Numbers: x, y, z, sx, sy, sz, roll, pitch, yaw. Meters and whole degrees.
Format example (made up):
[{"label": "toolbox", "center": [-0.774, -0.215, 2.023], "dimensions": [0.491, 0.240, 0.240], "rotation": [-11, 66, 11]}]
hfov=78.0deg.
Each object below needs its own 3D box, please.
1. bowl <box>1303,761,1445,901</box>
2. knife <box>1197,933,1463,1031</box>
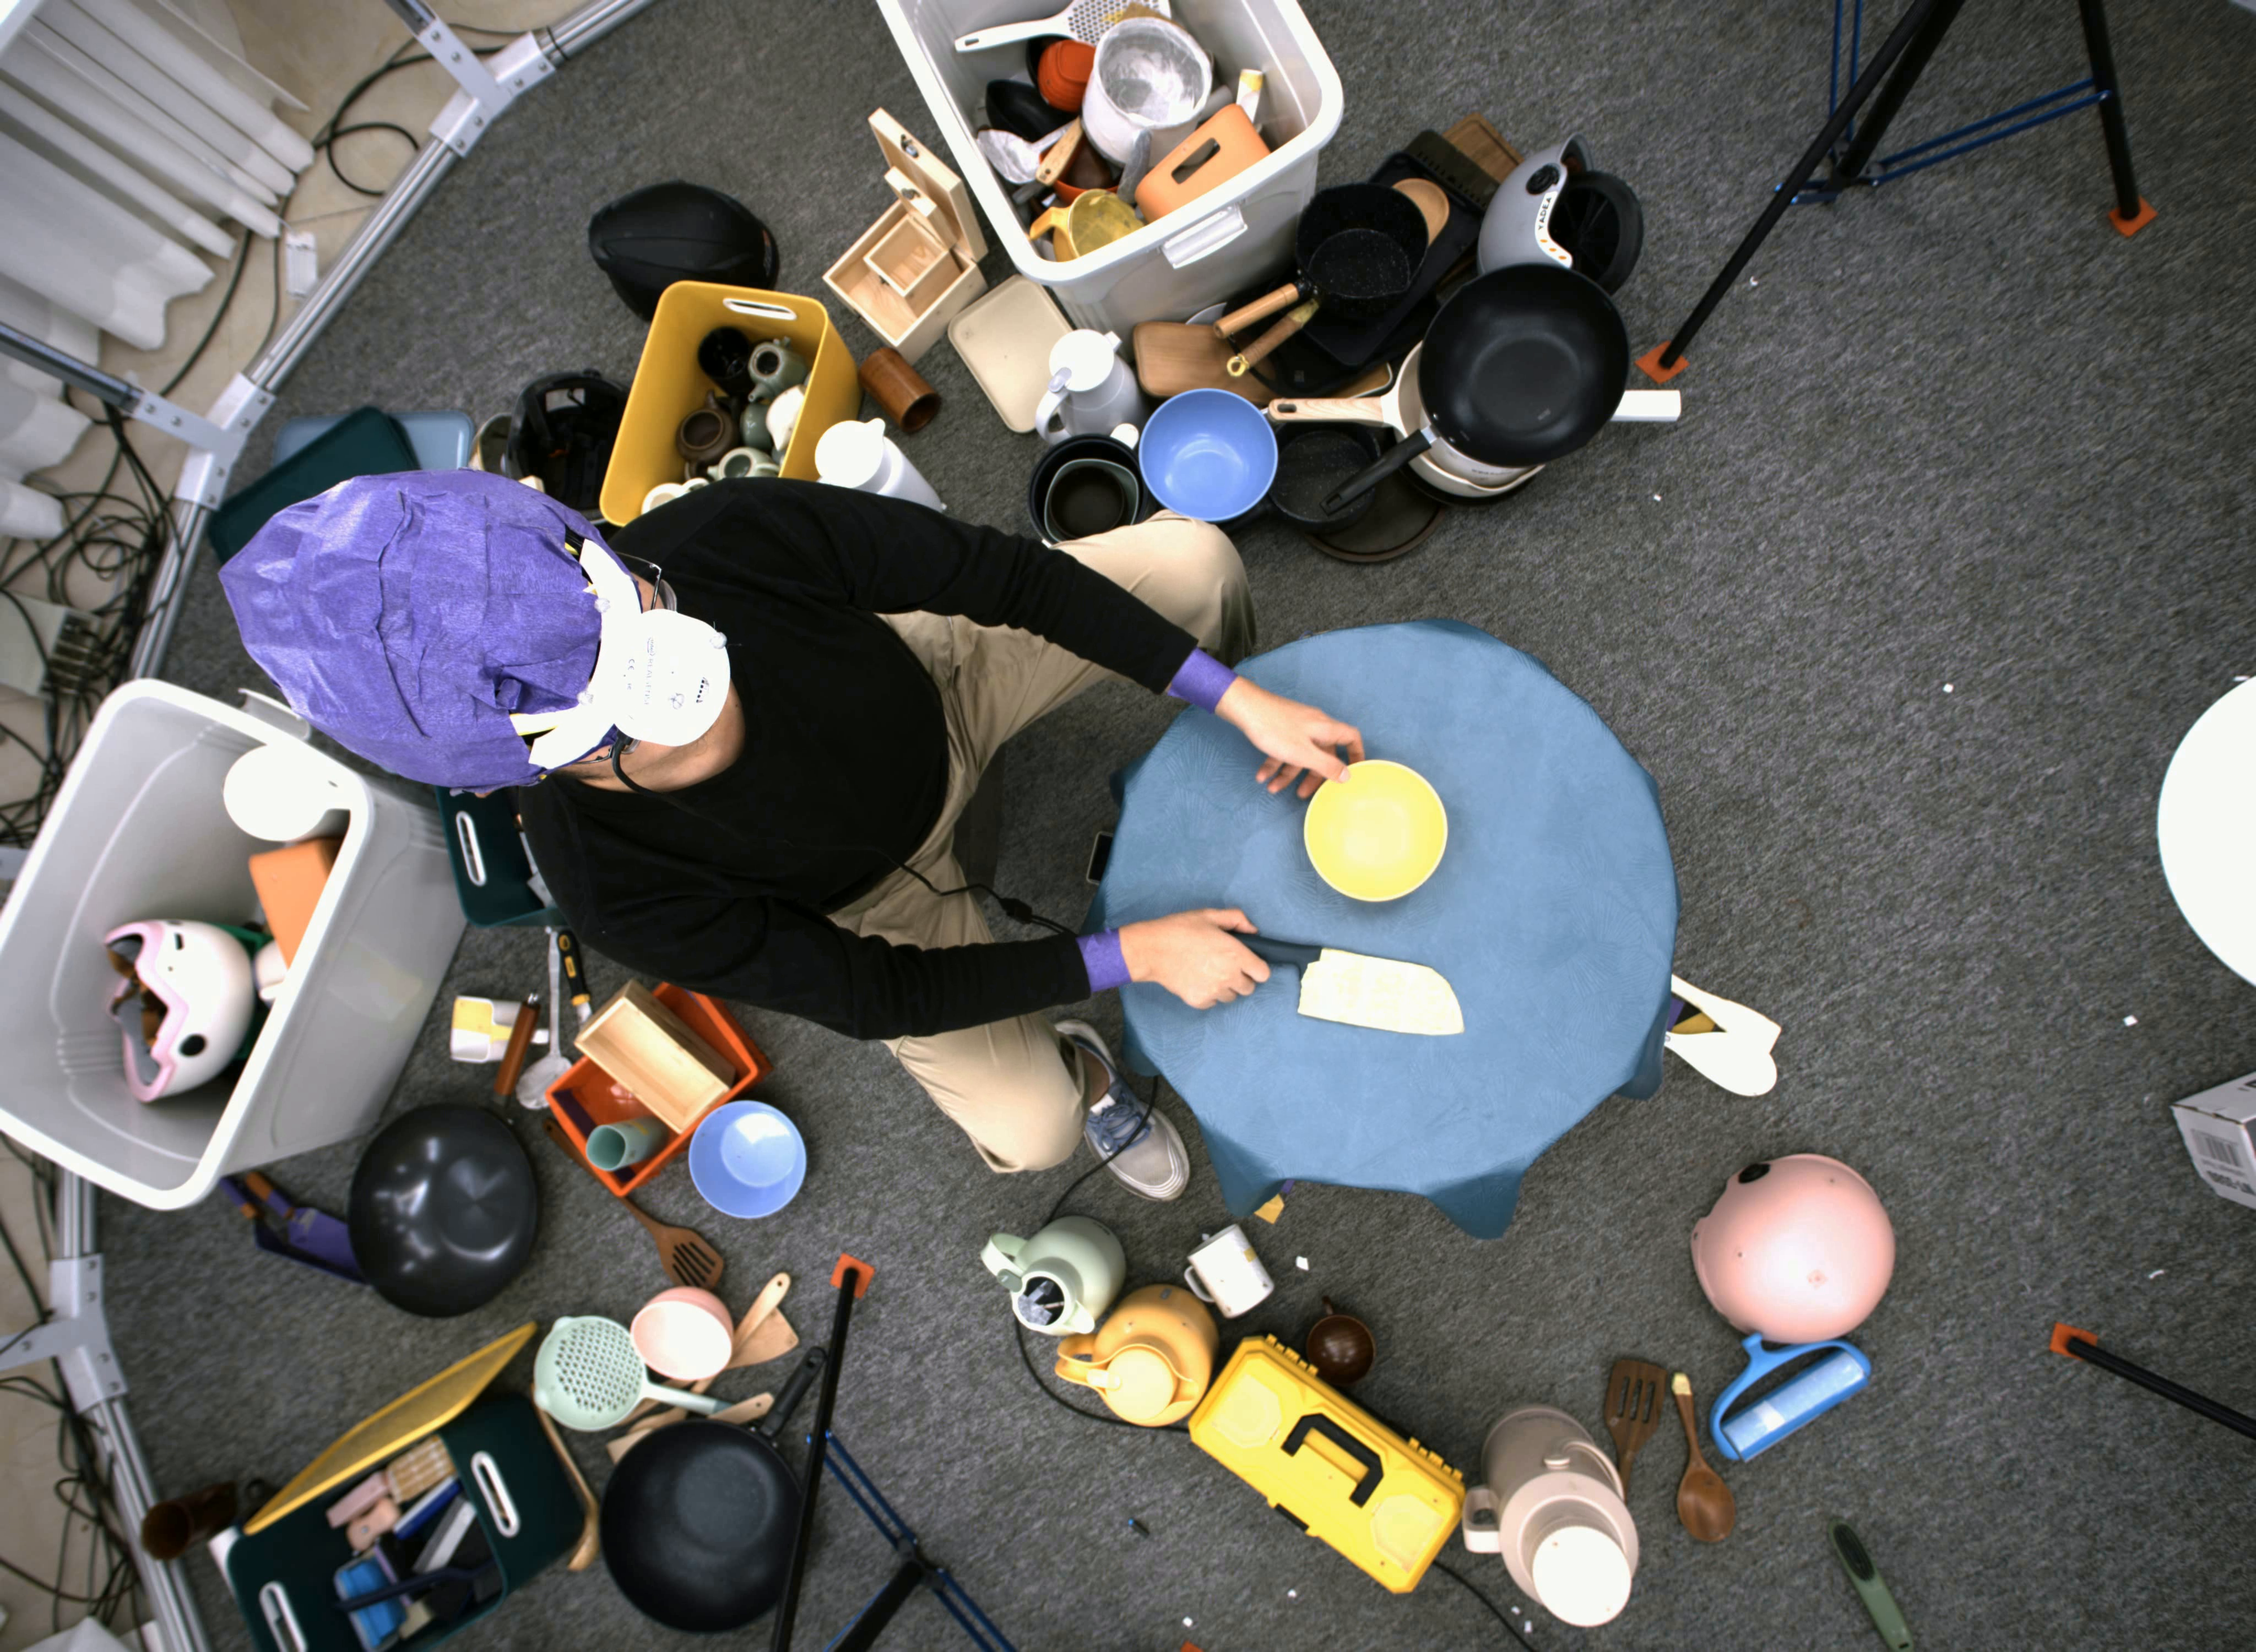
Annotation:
[{"label": "bowl", "center": [0.255, 0.008, 1.438], "dimensions": [0.146, 0.060, 0.144], "rotation": [-1, 84, 10]}, {"label": "knife", "center": [0.210, 0.162, 1.461], "dimensions": [0.290, 0.027, 0.081], "rotation": [12, 88, 10]}]
